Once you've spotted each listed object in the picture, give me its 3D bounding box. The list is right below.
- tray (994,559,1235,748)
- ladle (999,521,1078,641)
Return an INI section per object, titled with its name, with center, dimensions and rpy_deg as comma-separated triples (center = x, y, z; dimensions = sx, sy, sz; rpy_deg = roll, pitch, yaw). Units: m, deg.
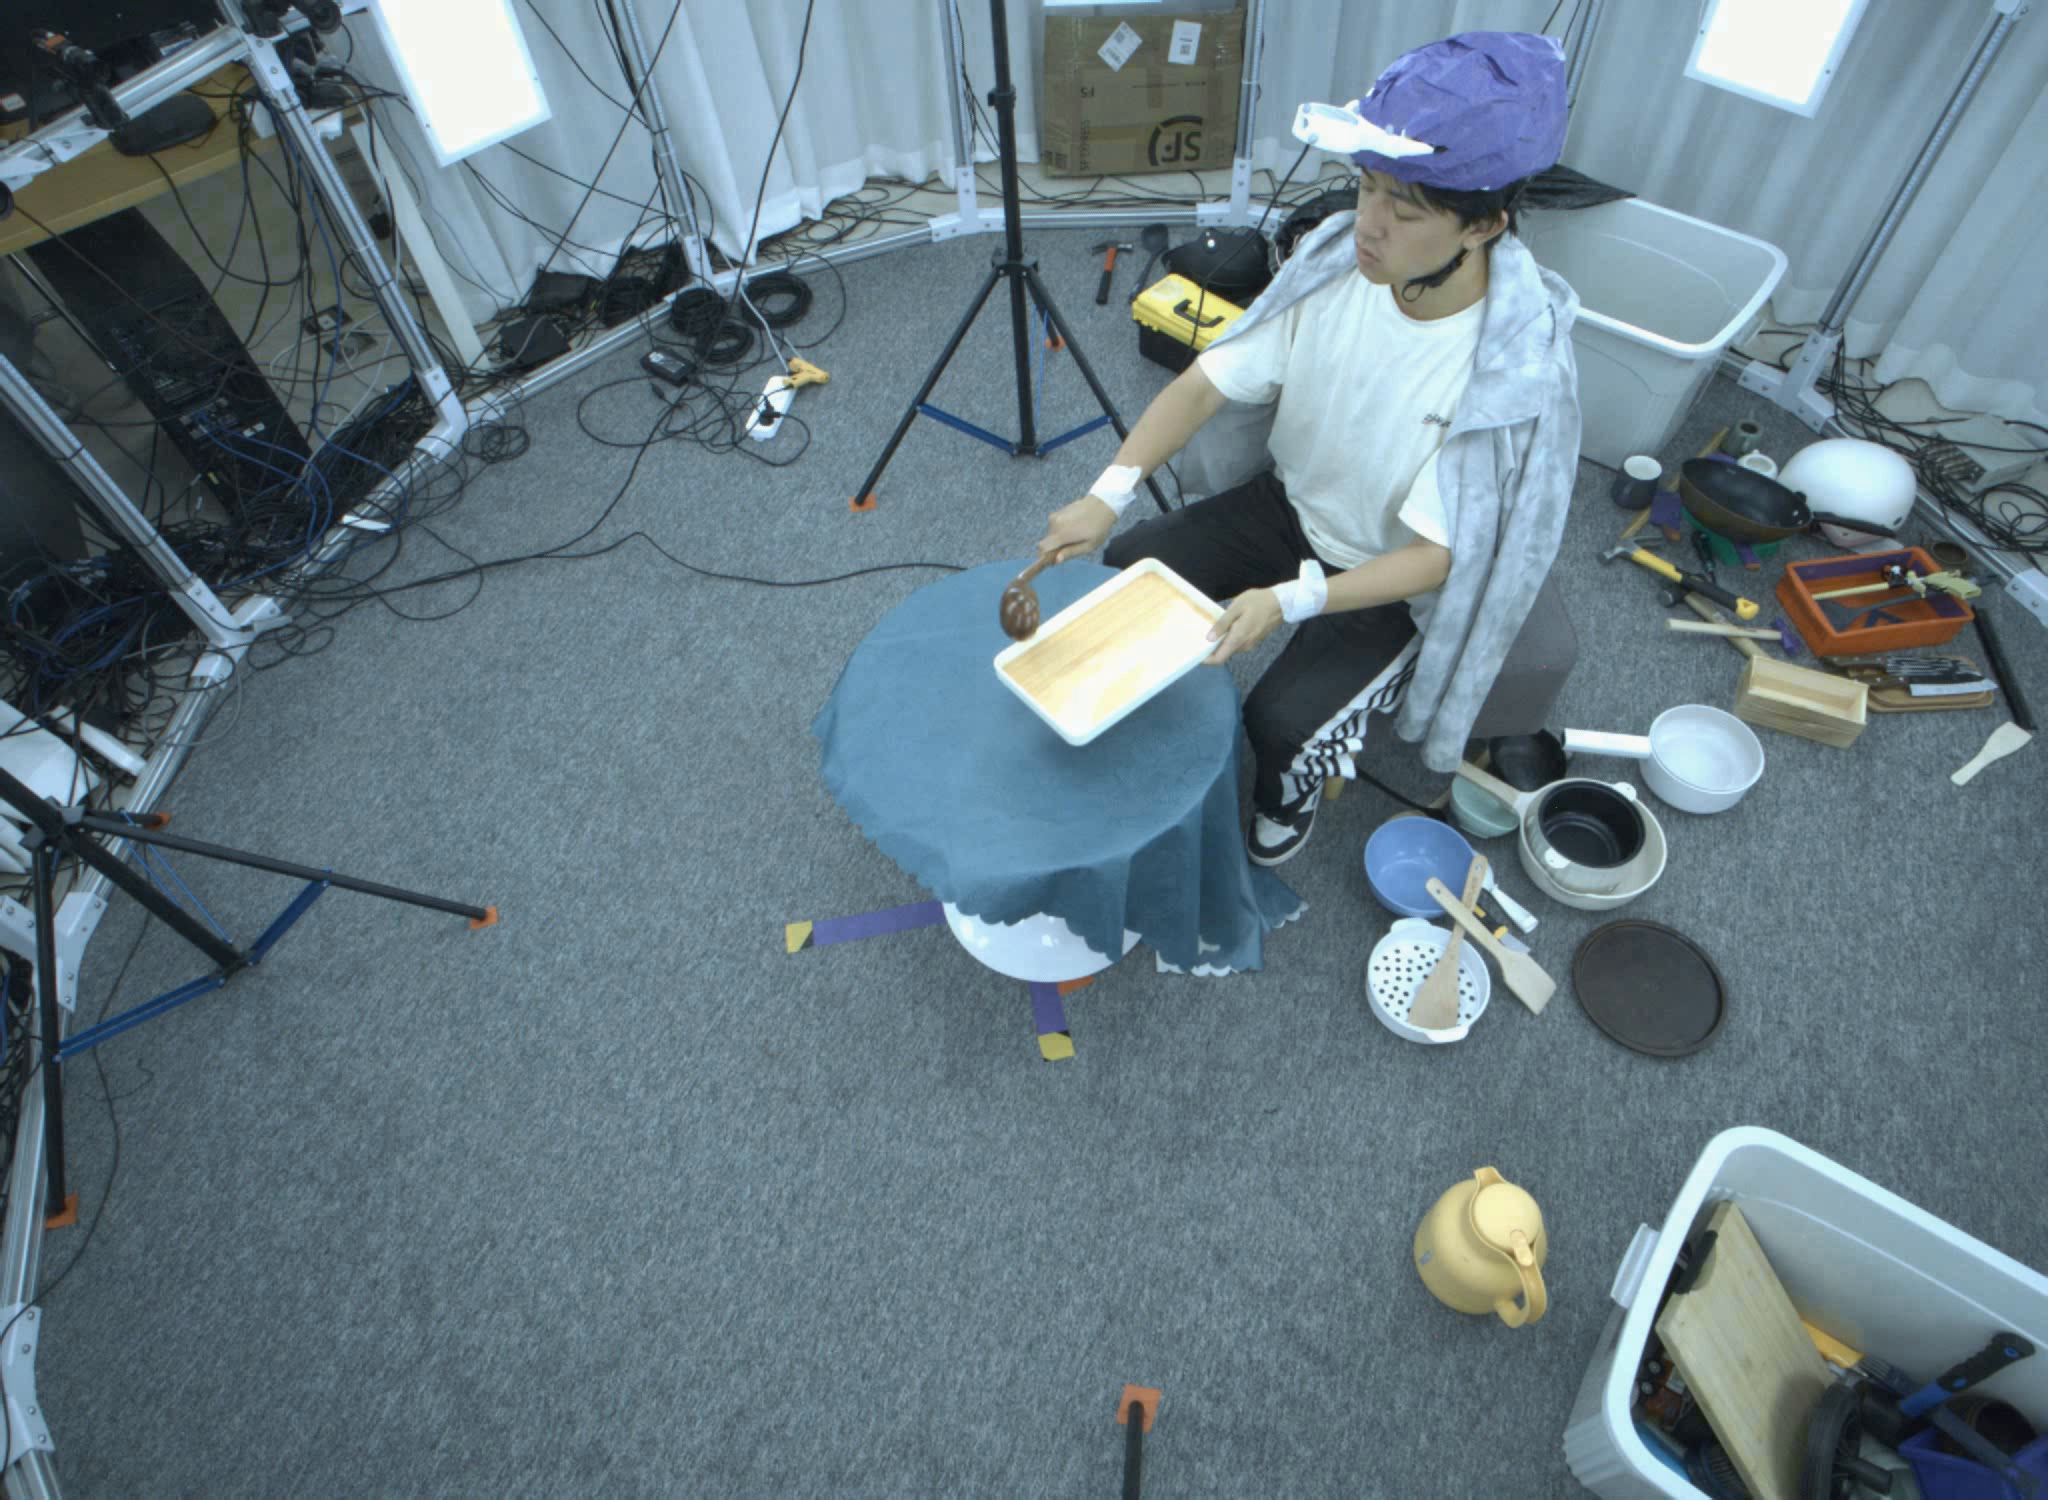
[tray]
center = 0.126, -0.140, 1.713
dimensions = 0.302, 0.028, 0.188
rpy_deg = -35, 58, -18
[ladle]
center = 0.040, -0.247, 1.752
dimensions = 0.077, 0.081, 0.275
rpy_deg = 41, 43, -2
